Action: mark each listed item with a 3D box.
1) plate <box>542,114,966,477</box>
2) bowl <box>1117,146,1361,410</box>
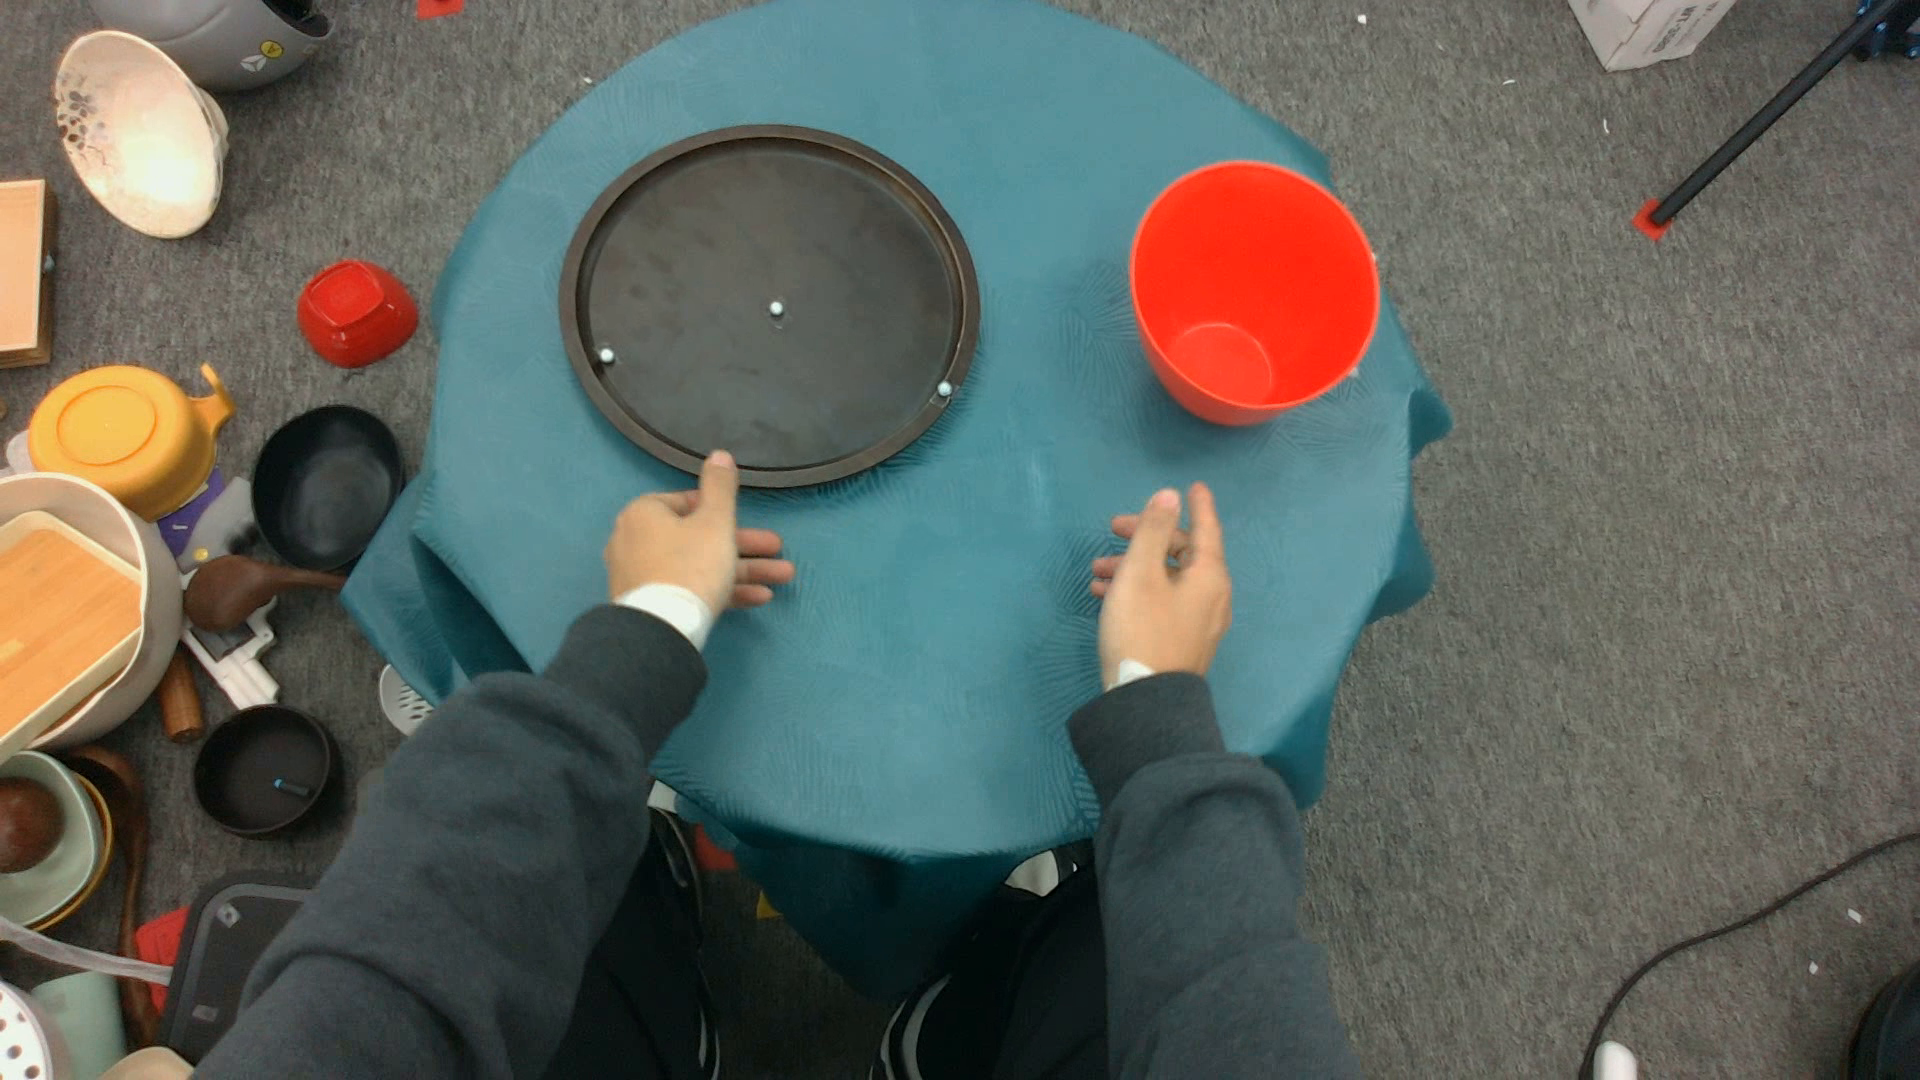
[{"bbox_3d":[-0.123,-0.152,0.839,0.255,0.029,0.255,3,68,-7],"label":"plate"},{"bbox_3d":[0.156,-0.143,0.826,0.148,0.104,0.148,3,67,-8],"label":"bowl"}]
